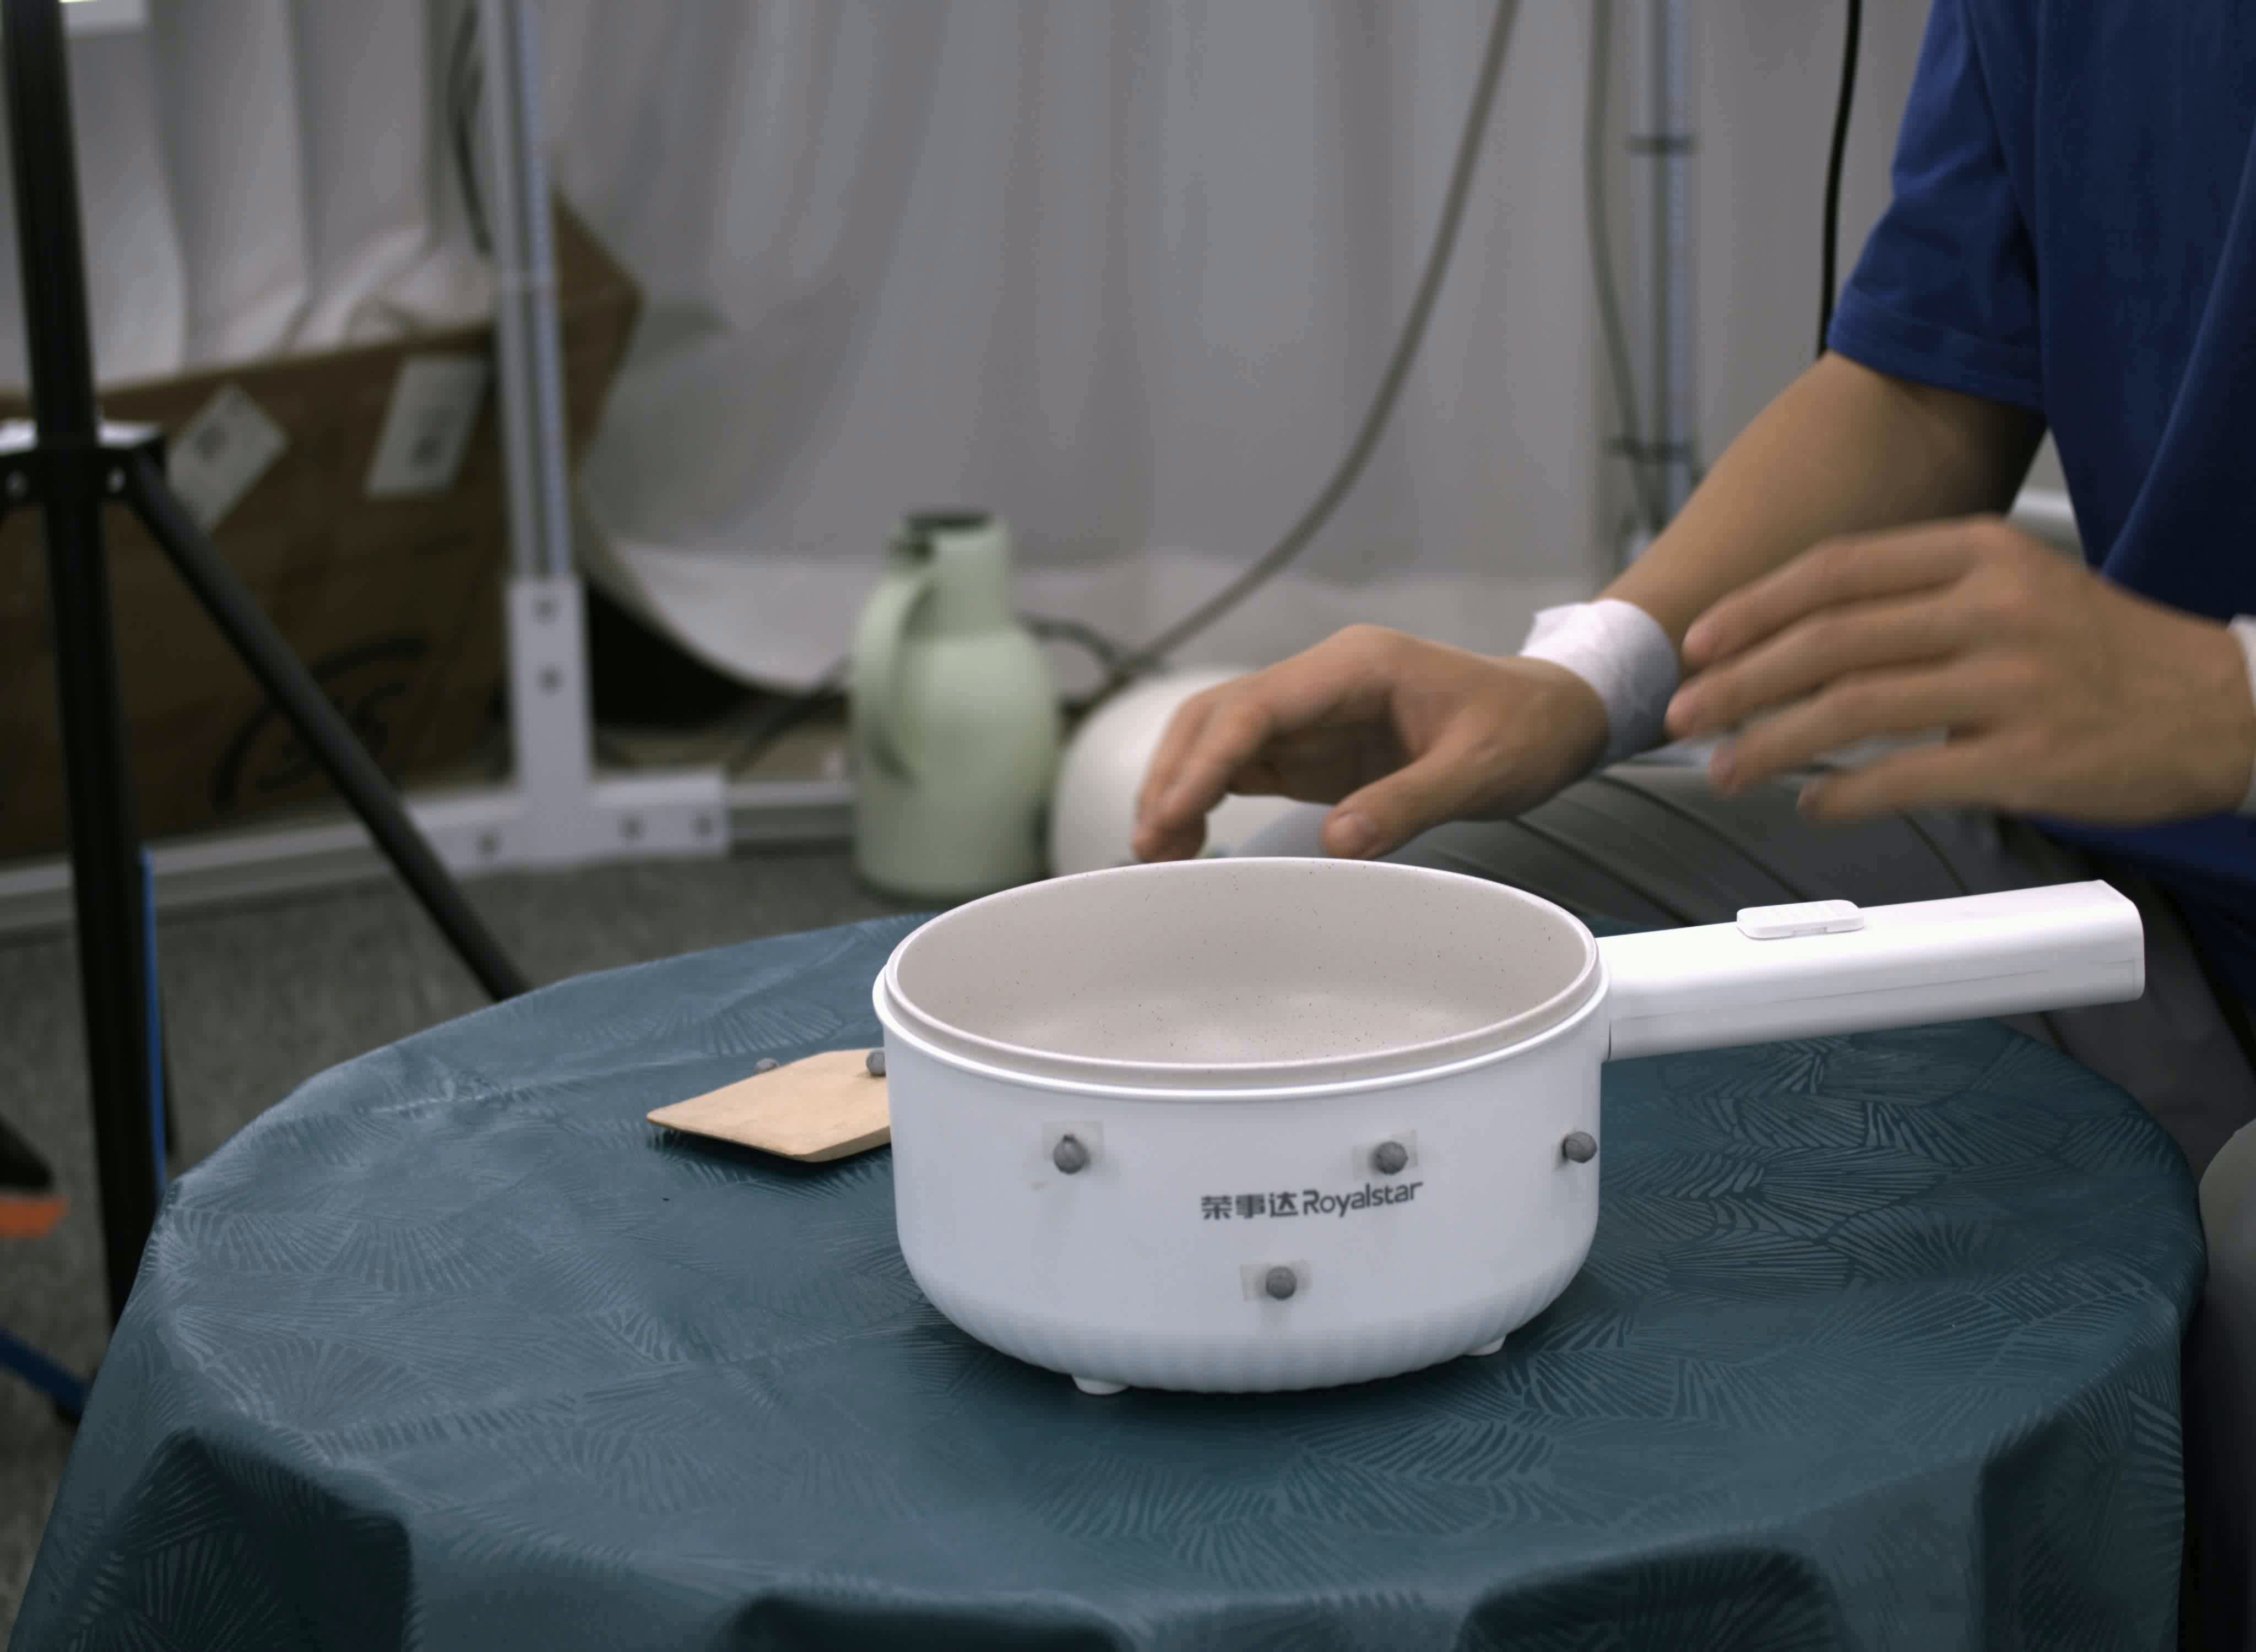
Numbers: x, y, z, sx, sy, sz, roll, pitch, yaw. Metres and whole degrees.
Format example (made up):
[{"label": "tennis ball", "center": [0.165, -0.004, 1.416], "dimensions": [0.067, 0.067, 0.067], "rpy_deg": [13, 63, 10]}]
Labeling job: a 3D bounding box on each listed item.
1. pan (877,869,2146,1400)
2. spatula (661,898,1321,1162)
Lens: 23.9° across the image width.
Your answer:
[{"label": "pan", "center": [0.108, 0.079, 1.465], "dimensions": [0.351, 0.102, 0.203], "rpy_deg": [-5, 14, -9]}, {"label": "spatula", "center": [-0.028, 0.062, 1.706], "dimensions": [0.074, 0.010, 0.286], "rpy_deg": [10, 20, 40]}]
